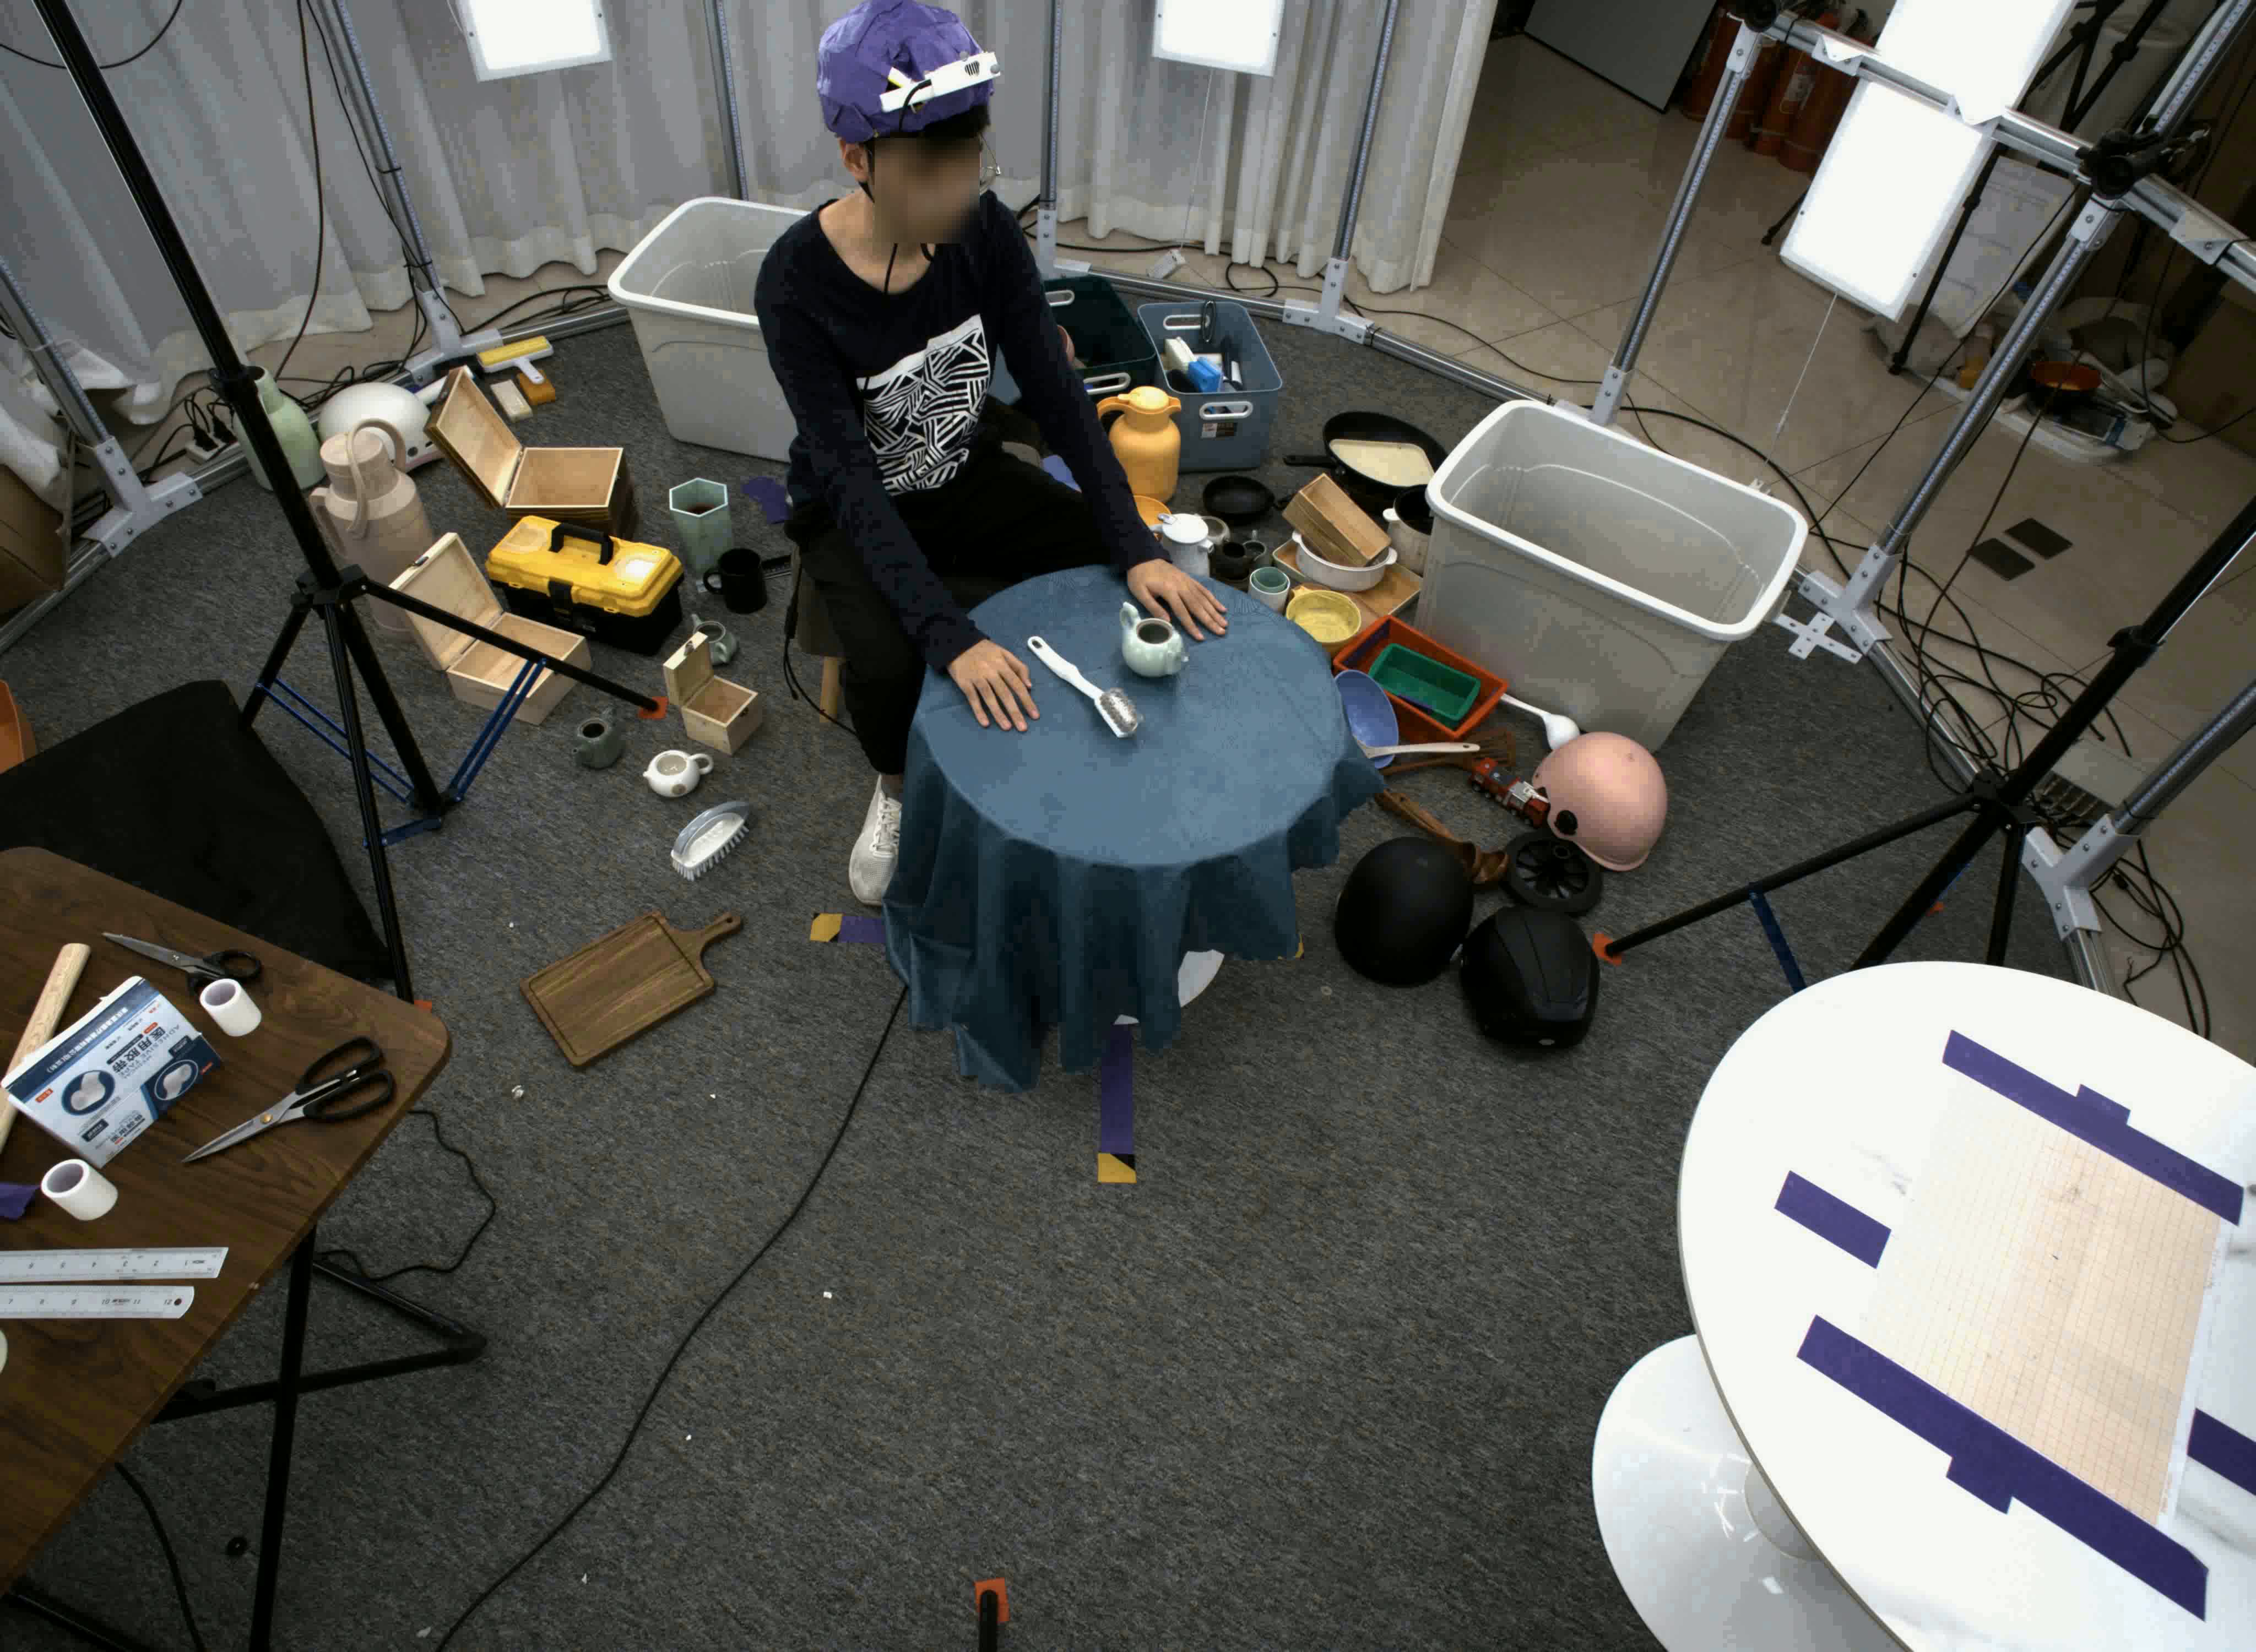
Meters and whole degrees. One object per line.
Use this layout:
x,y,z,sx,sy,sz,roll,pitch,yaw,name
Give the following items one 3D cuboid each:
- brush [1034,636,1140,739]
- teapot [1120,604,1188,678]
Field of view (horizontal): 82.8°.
-0.063,-0.211,1.816,0.034,0.049,0.248,-28,56,-20,brush
0.036,-0.256,1.847,0.089,0.073,0.146,-27,57,-24,teapot
